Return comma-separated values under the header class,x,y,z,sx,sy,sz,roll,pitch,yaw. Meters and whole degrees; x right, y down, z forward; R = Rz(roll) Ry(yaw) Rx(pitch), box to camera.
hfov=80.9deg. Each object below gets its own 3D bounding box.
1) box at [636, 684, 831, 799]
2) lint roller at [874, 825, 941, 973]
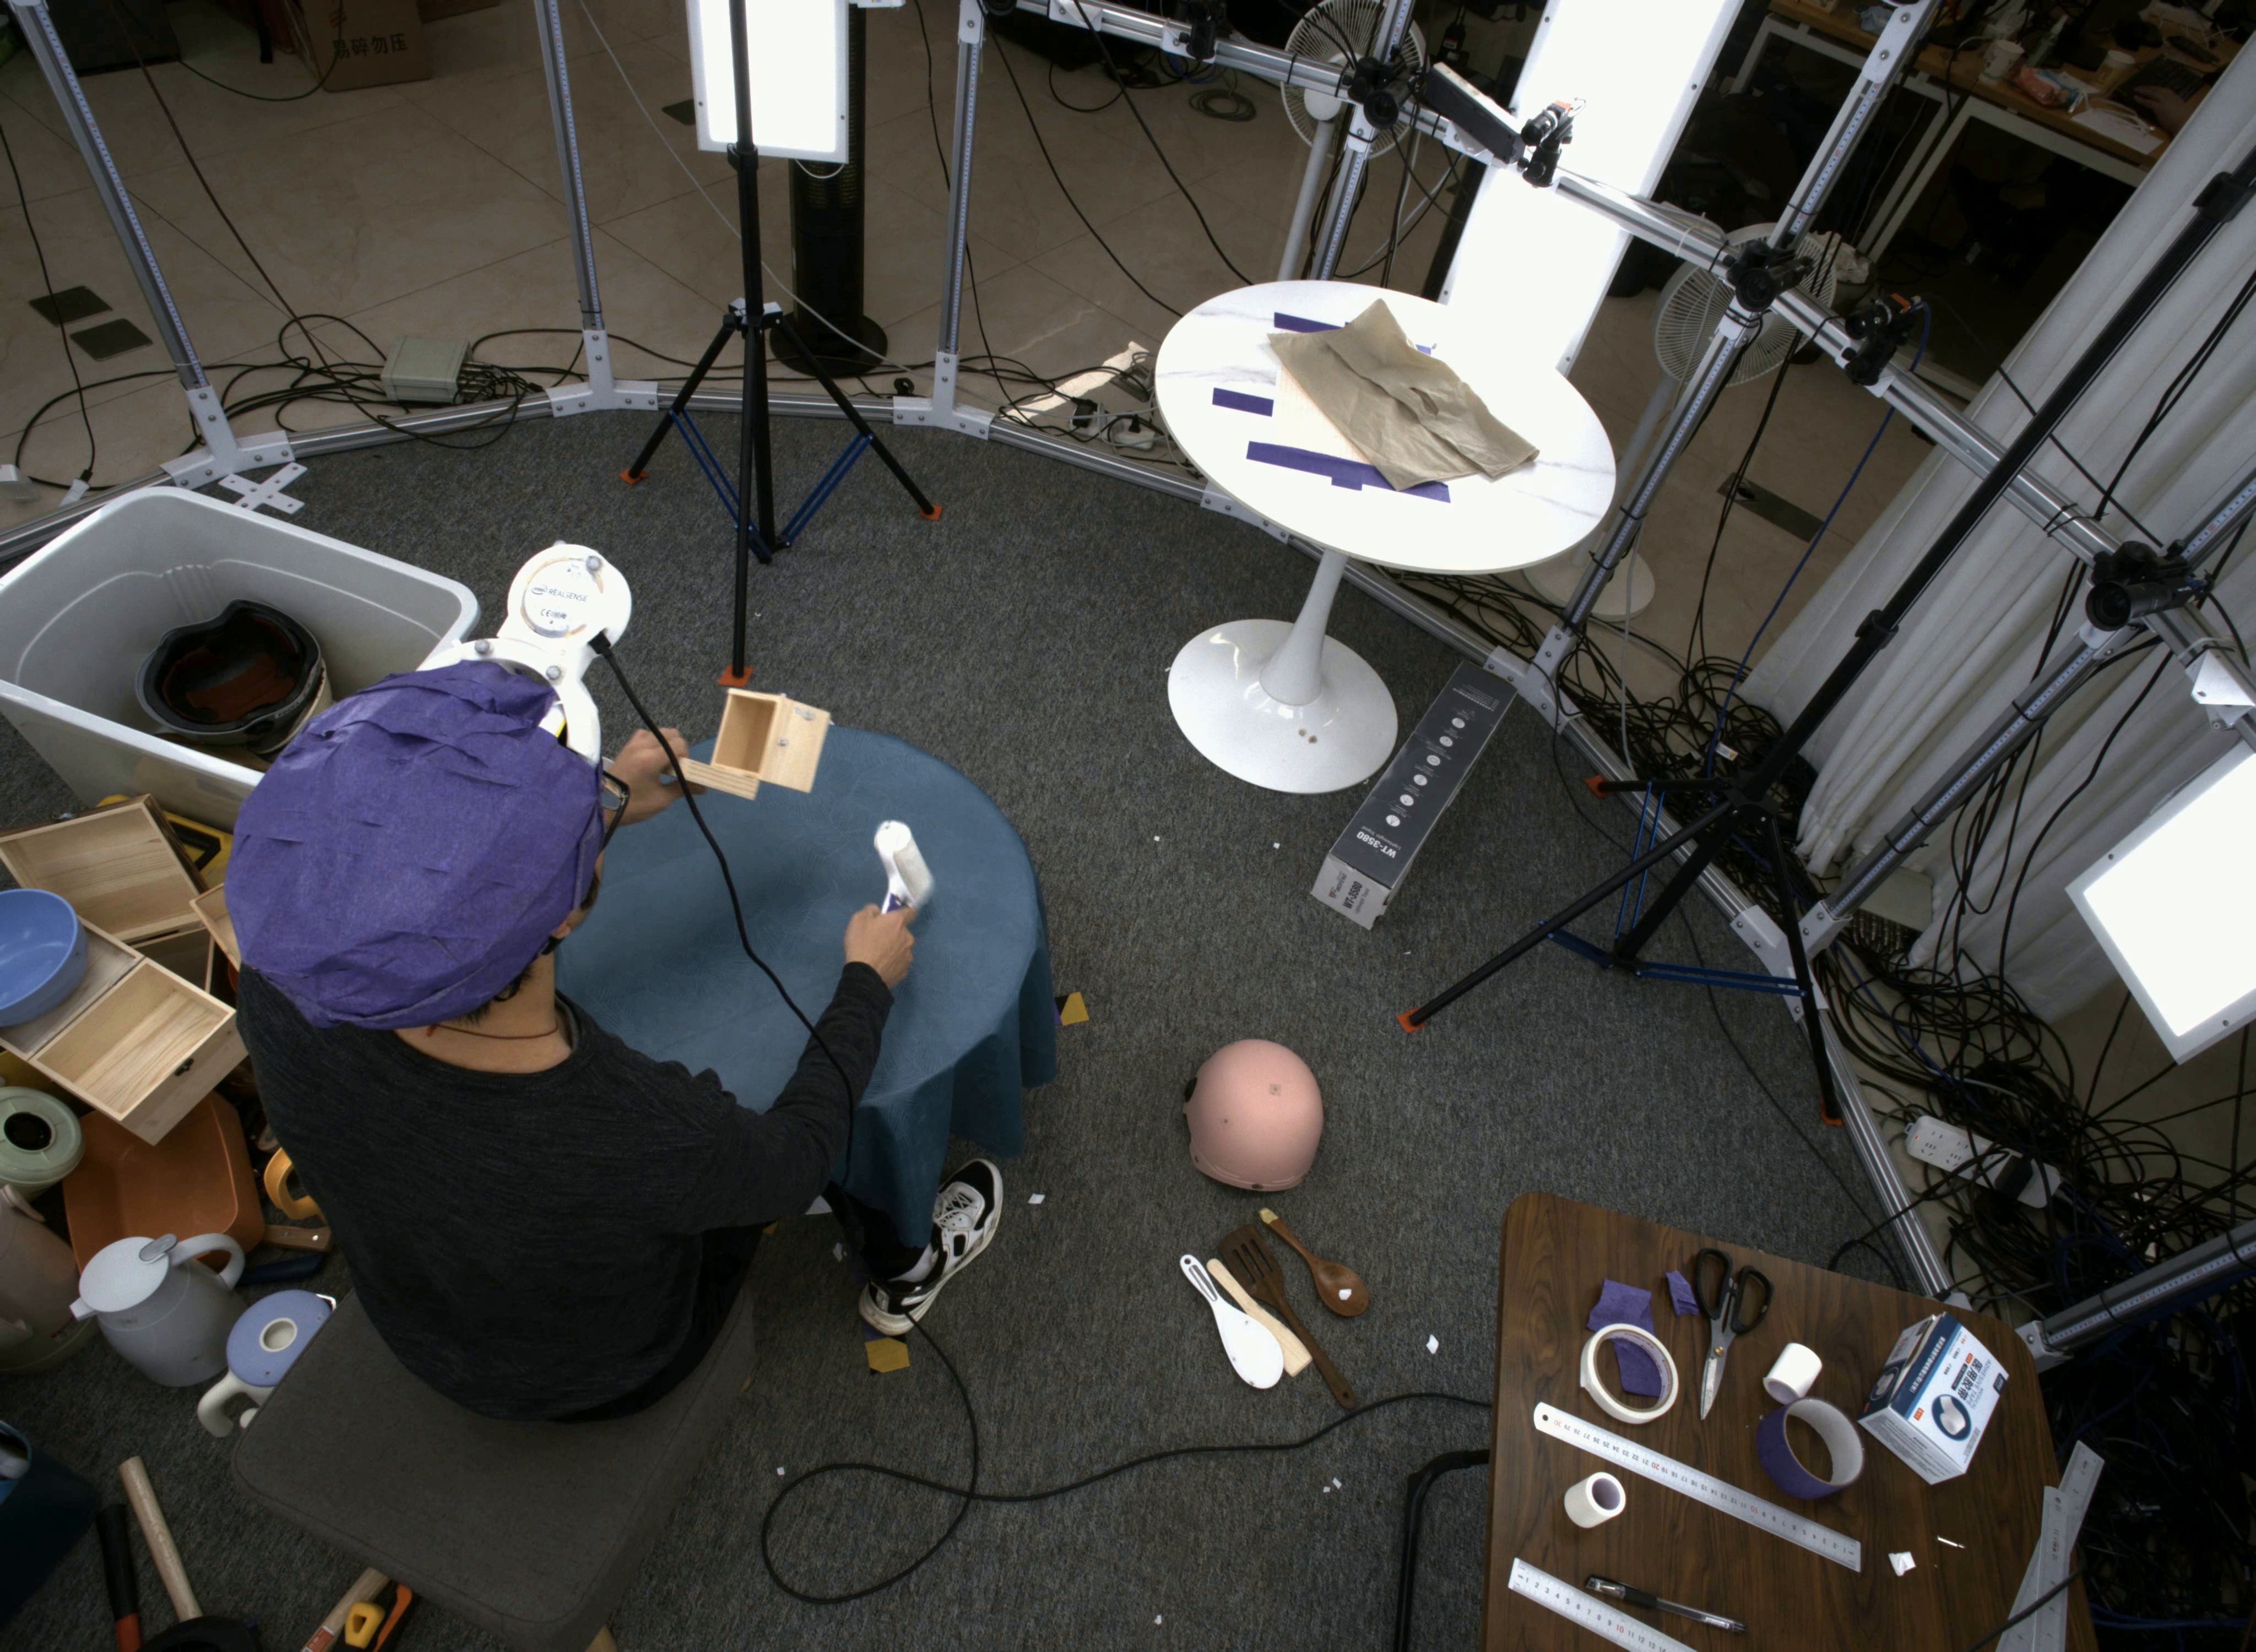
class,x,y,z,sx,sy,sz,roll,pitch,yaw
box,-0.464,-0.108,1.519,0.099,0.189,0.135,12,86,34
lint roller,-0.277,0.097,1.589,0.049,0.138,0.177,-12,47,13
